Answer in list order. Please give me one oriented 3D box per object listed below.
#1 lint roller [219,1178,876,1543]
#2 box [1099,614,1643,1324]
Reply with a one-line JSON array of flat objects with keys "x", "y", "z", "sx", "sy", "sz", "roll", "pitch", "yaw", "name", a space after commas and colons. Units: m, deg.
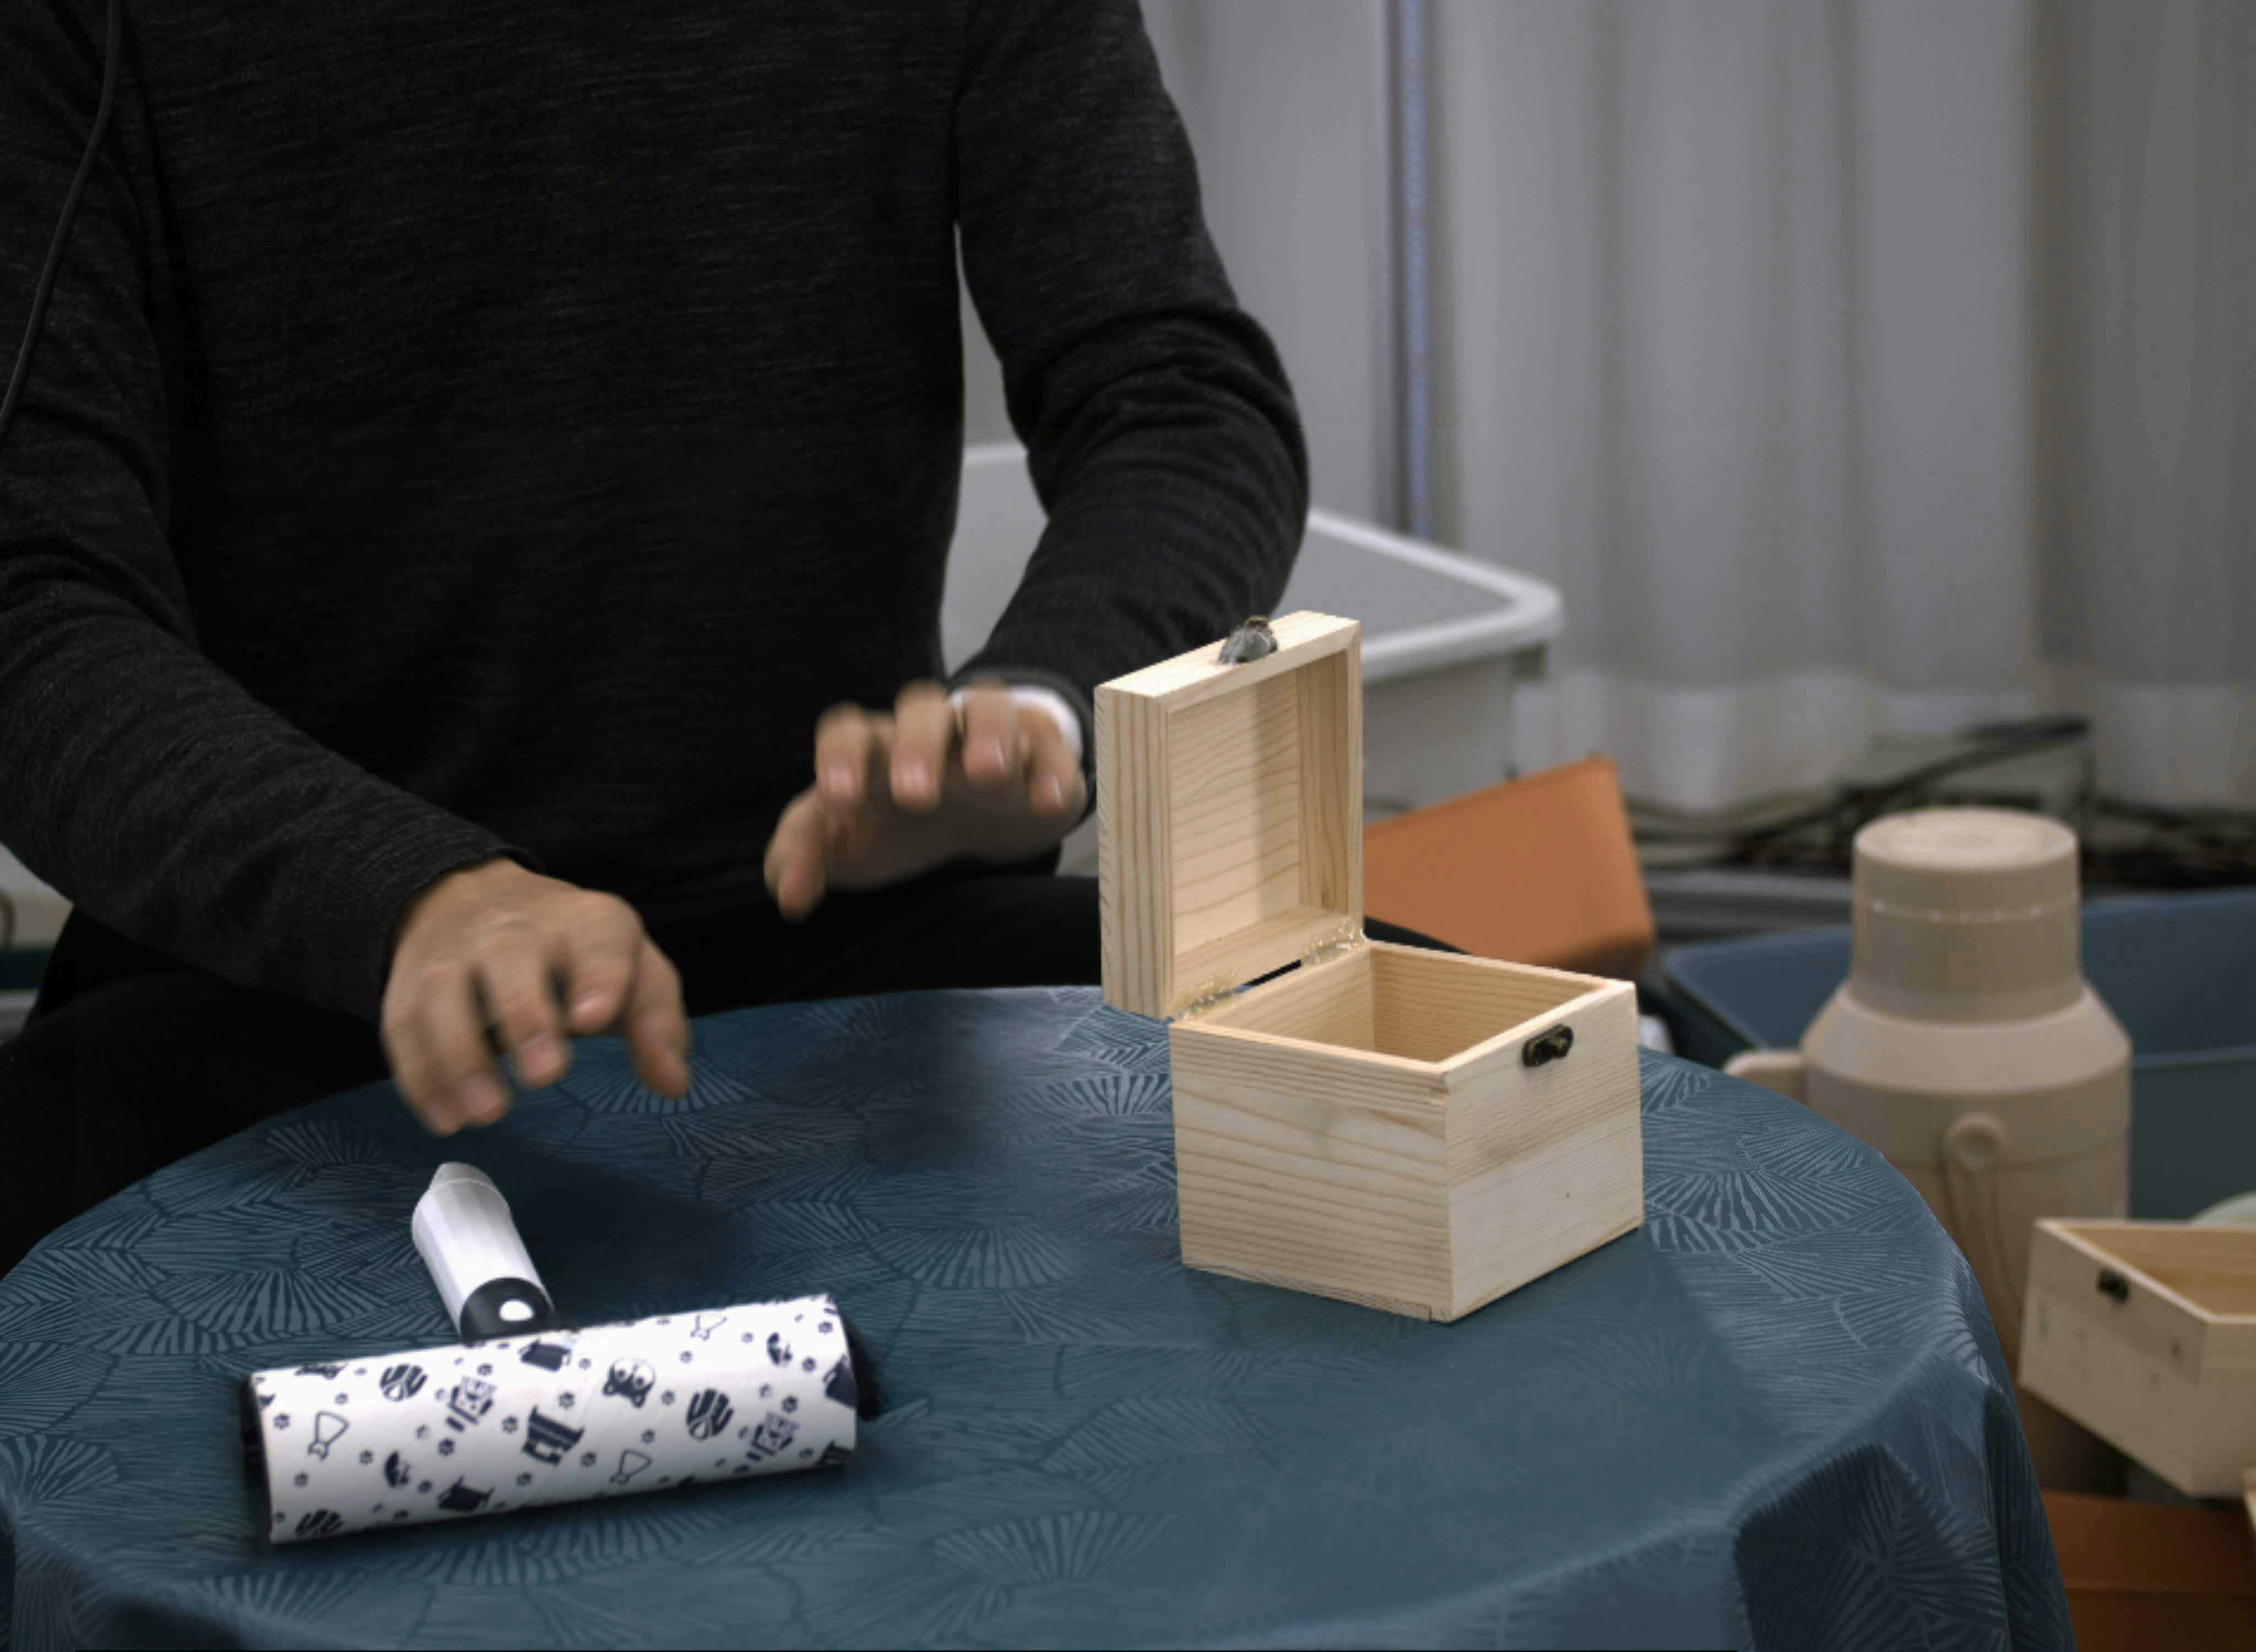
[{"x": -0.183, "y": 0.138, "z": 1.578, "sx": 0.175, "sy": 0.050, "sz": 0.249, "roll": -8, "pitch": 15, "yaw": -14, "name": "lint roller"}, {"x": 0.075, "y": 0.039, "z": 1.633, "sx": 0.134, "sy": 0.184, "sz": 0.102, "roll": 7, "pitch": 16, "yaw": 38, "name": "box"}]
